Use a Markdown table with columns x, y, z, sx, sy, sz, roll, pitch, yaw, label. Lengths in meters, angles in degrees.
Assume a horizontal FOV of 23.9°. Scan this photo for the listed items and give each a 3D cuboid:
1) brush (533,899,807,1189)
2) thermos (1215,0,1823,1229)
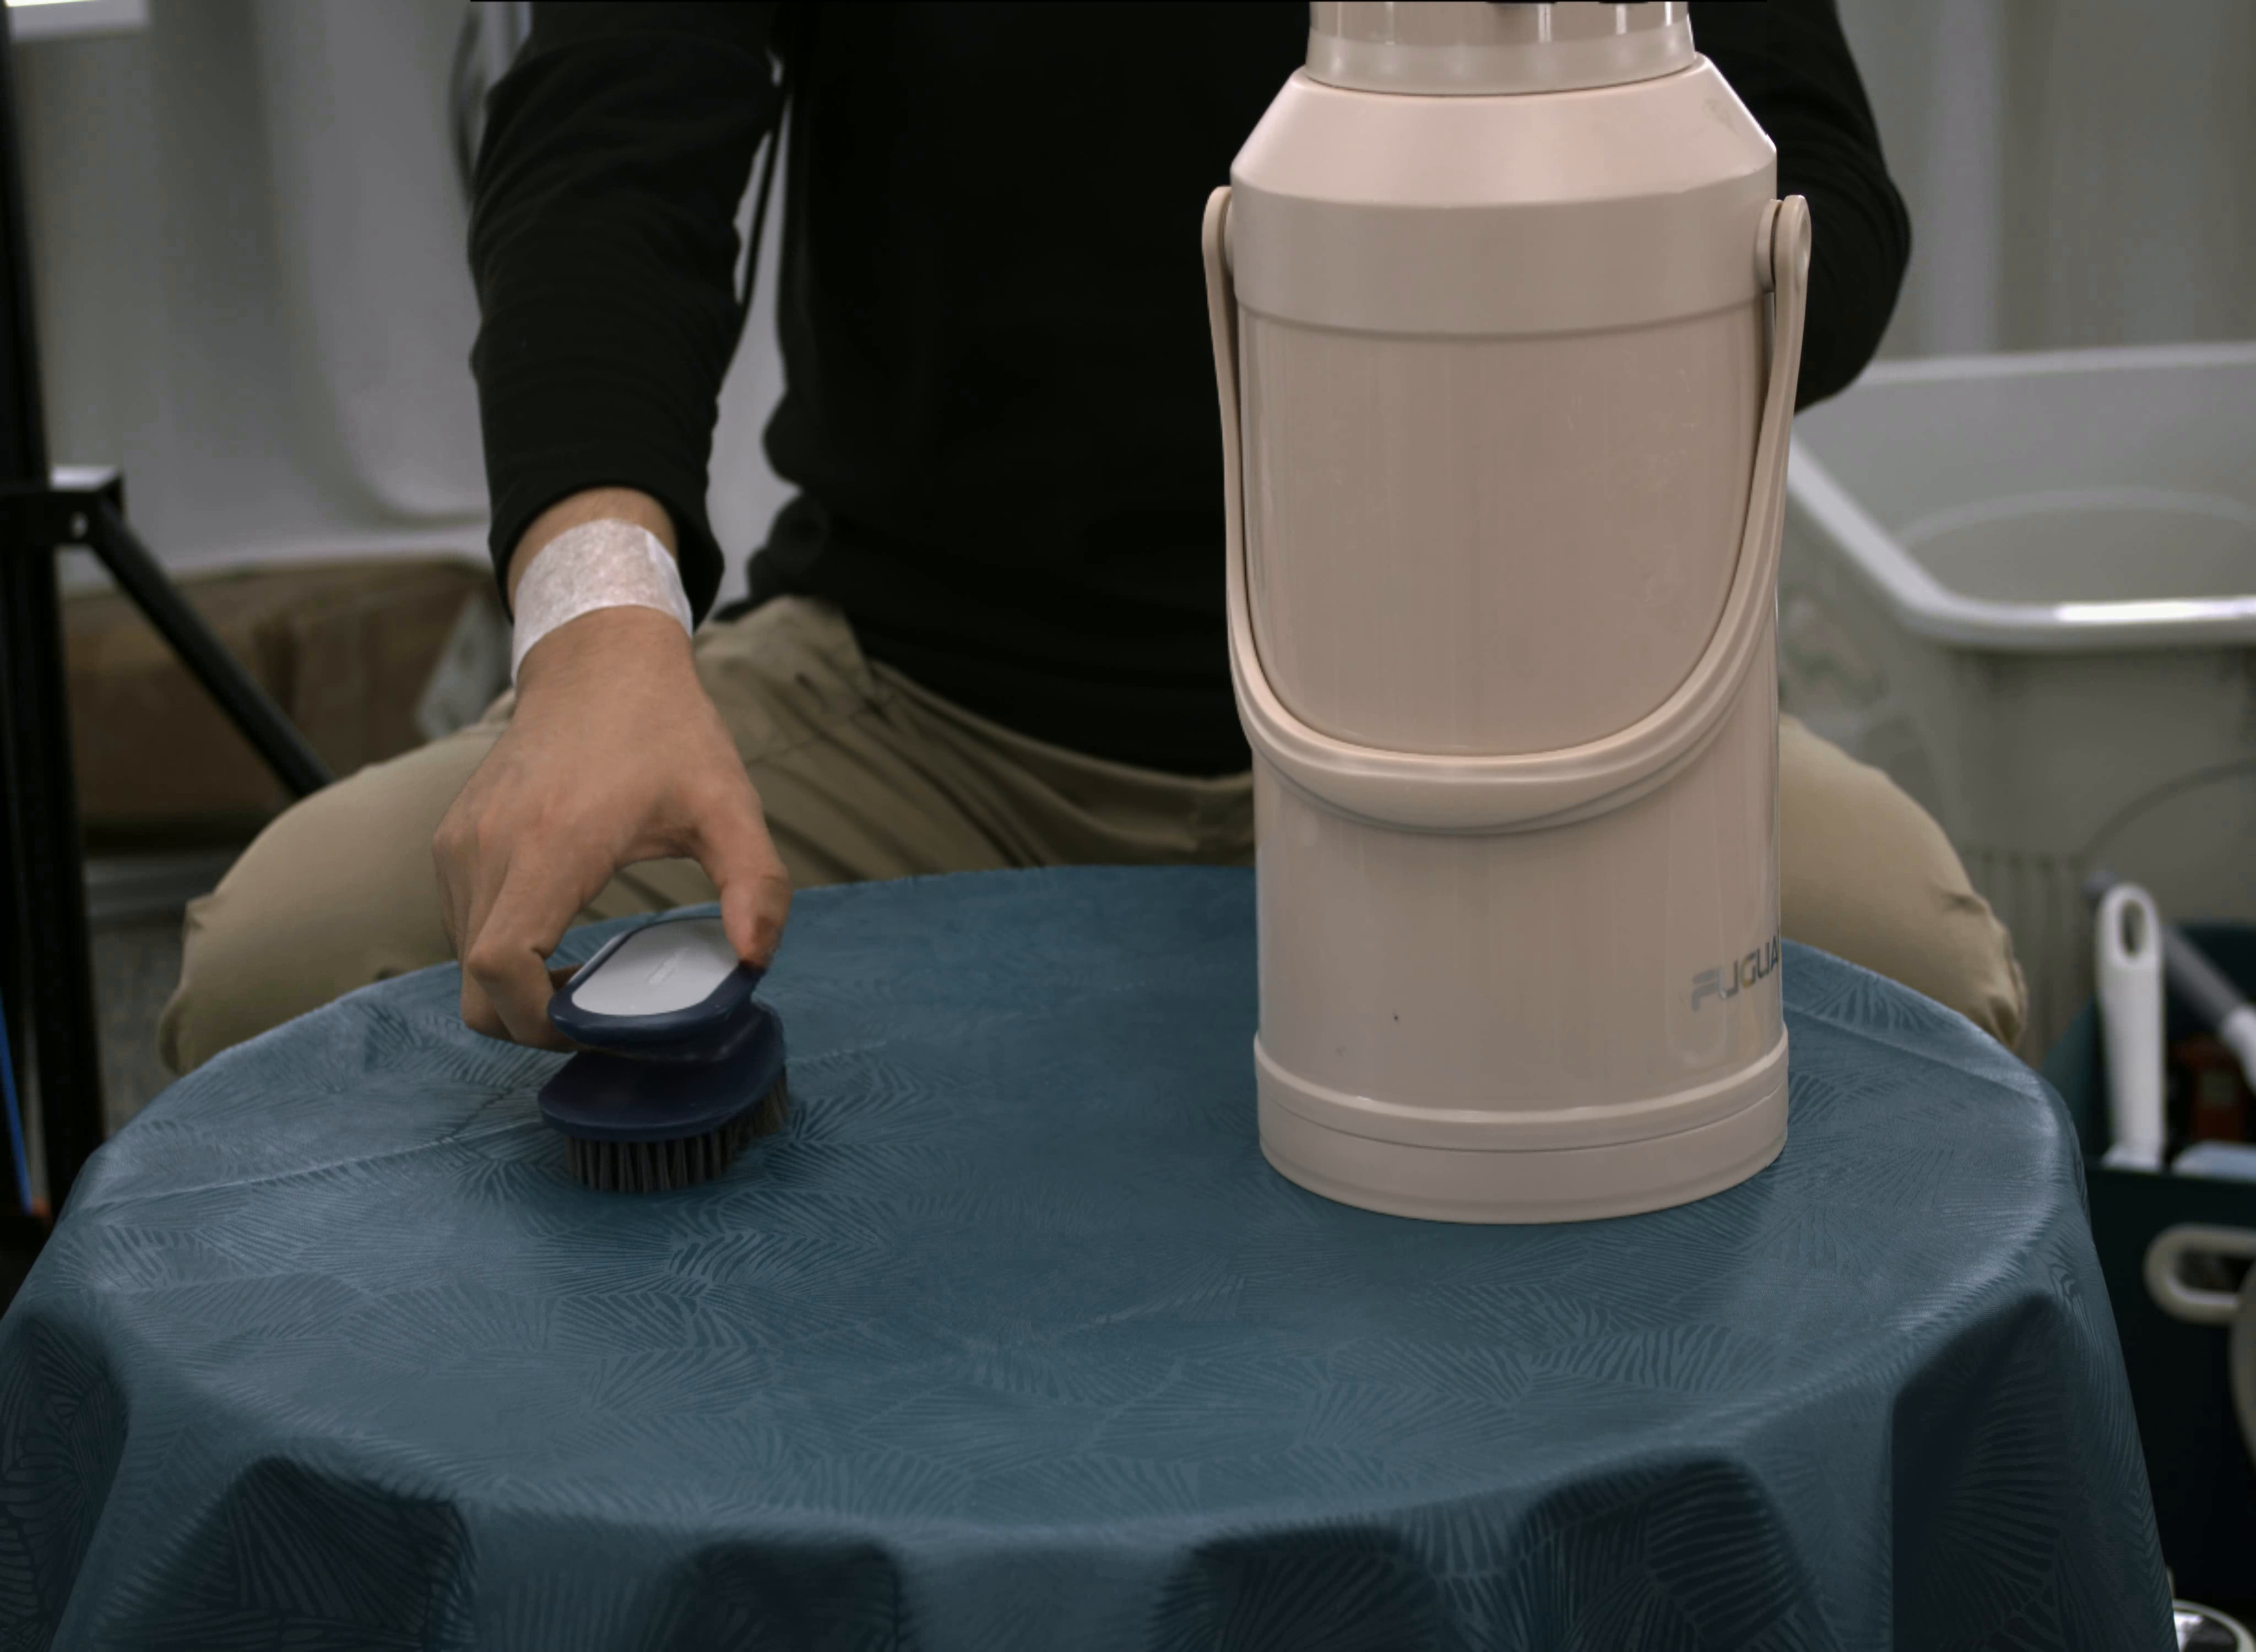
| x | y | z | sx | sy | sz | roll | pitch | yaw | label |
| --- | --- | --- | --- | --- | --- | --- | --- | --- | --- |
| -0.138 | 0.068 | 1.620 | 0.068 | 0.061 | 0.120 | 4 | 19 | 17 | brush |
| 0.120 | -0.101 | 1.550 | 0.177 | 0.406 | 0.205 | 2 | 16 | 20 | thermos |
